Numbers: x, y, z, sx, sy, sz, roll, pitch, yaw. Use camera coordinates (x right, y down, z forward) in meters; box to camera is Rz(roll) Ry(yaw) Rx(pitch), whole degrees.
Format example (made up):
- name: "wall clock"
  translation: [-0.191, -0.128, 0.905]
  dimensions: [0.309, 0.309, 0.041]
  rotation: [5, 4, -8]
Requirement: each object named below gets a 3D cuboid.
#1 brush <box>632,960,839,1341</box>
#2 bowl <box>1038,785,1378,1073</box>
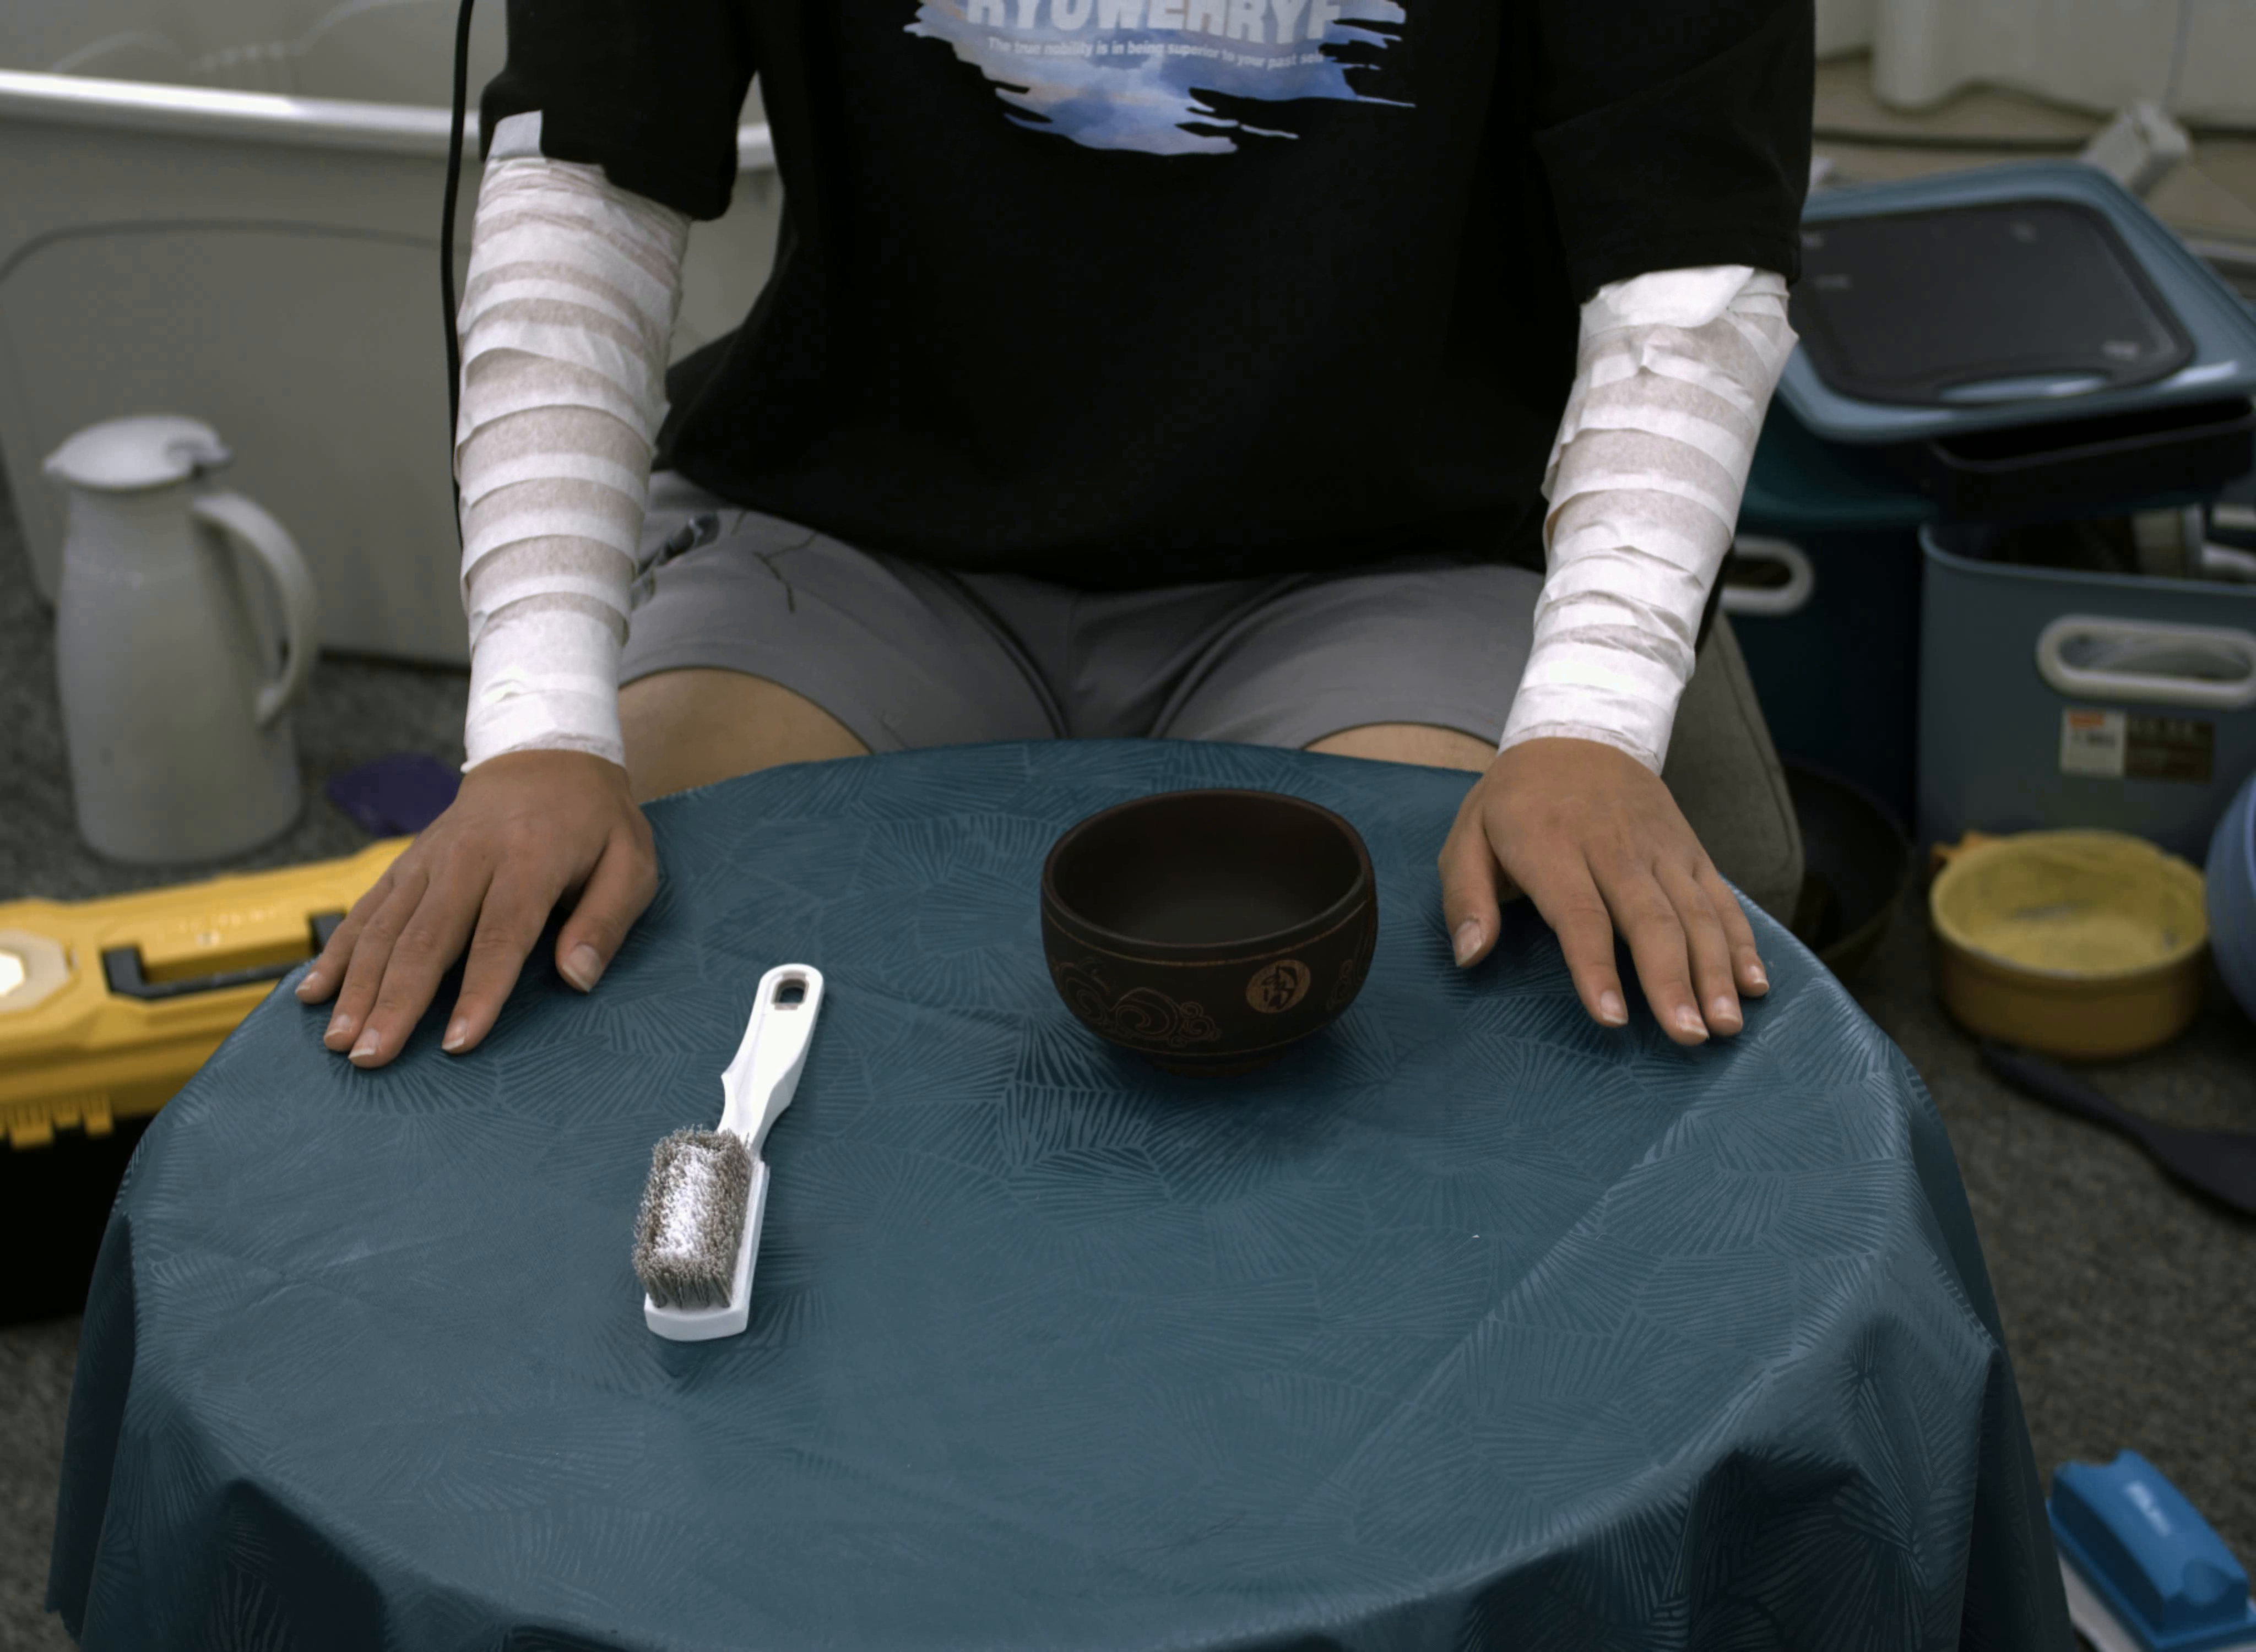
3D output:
- name: "brush"
  translation: [-0.128, 0.091, 1.879]
  dimensions: [0.034, 0.049, 0.248]
  rotation: [0, 28, 8]
- name: "bowl"
  translation: [0.028, 0.042, 1.935]
  dimensions: [0.117, 0.069, 0.120]
  rotation: [-3, 25, 2]
